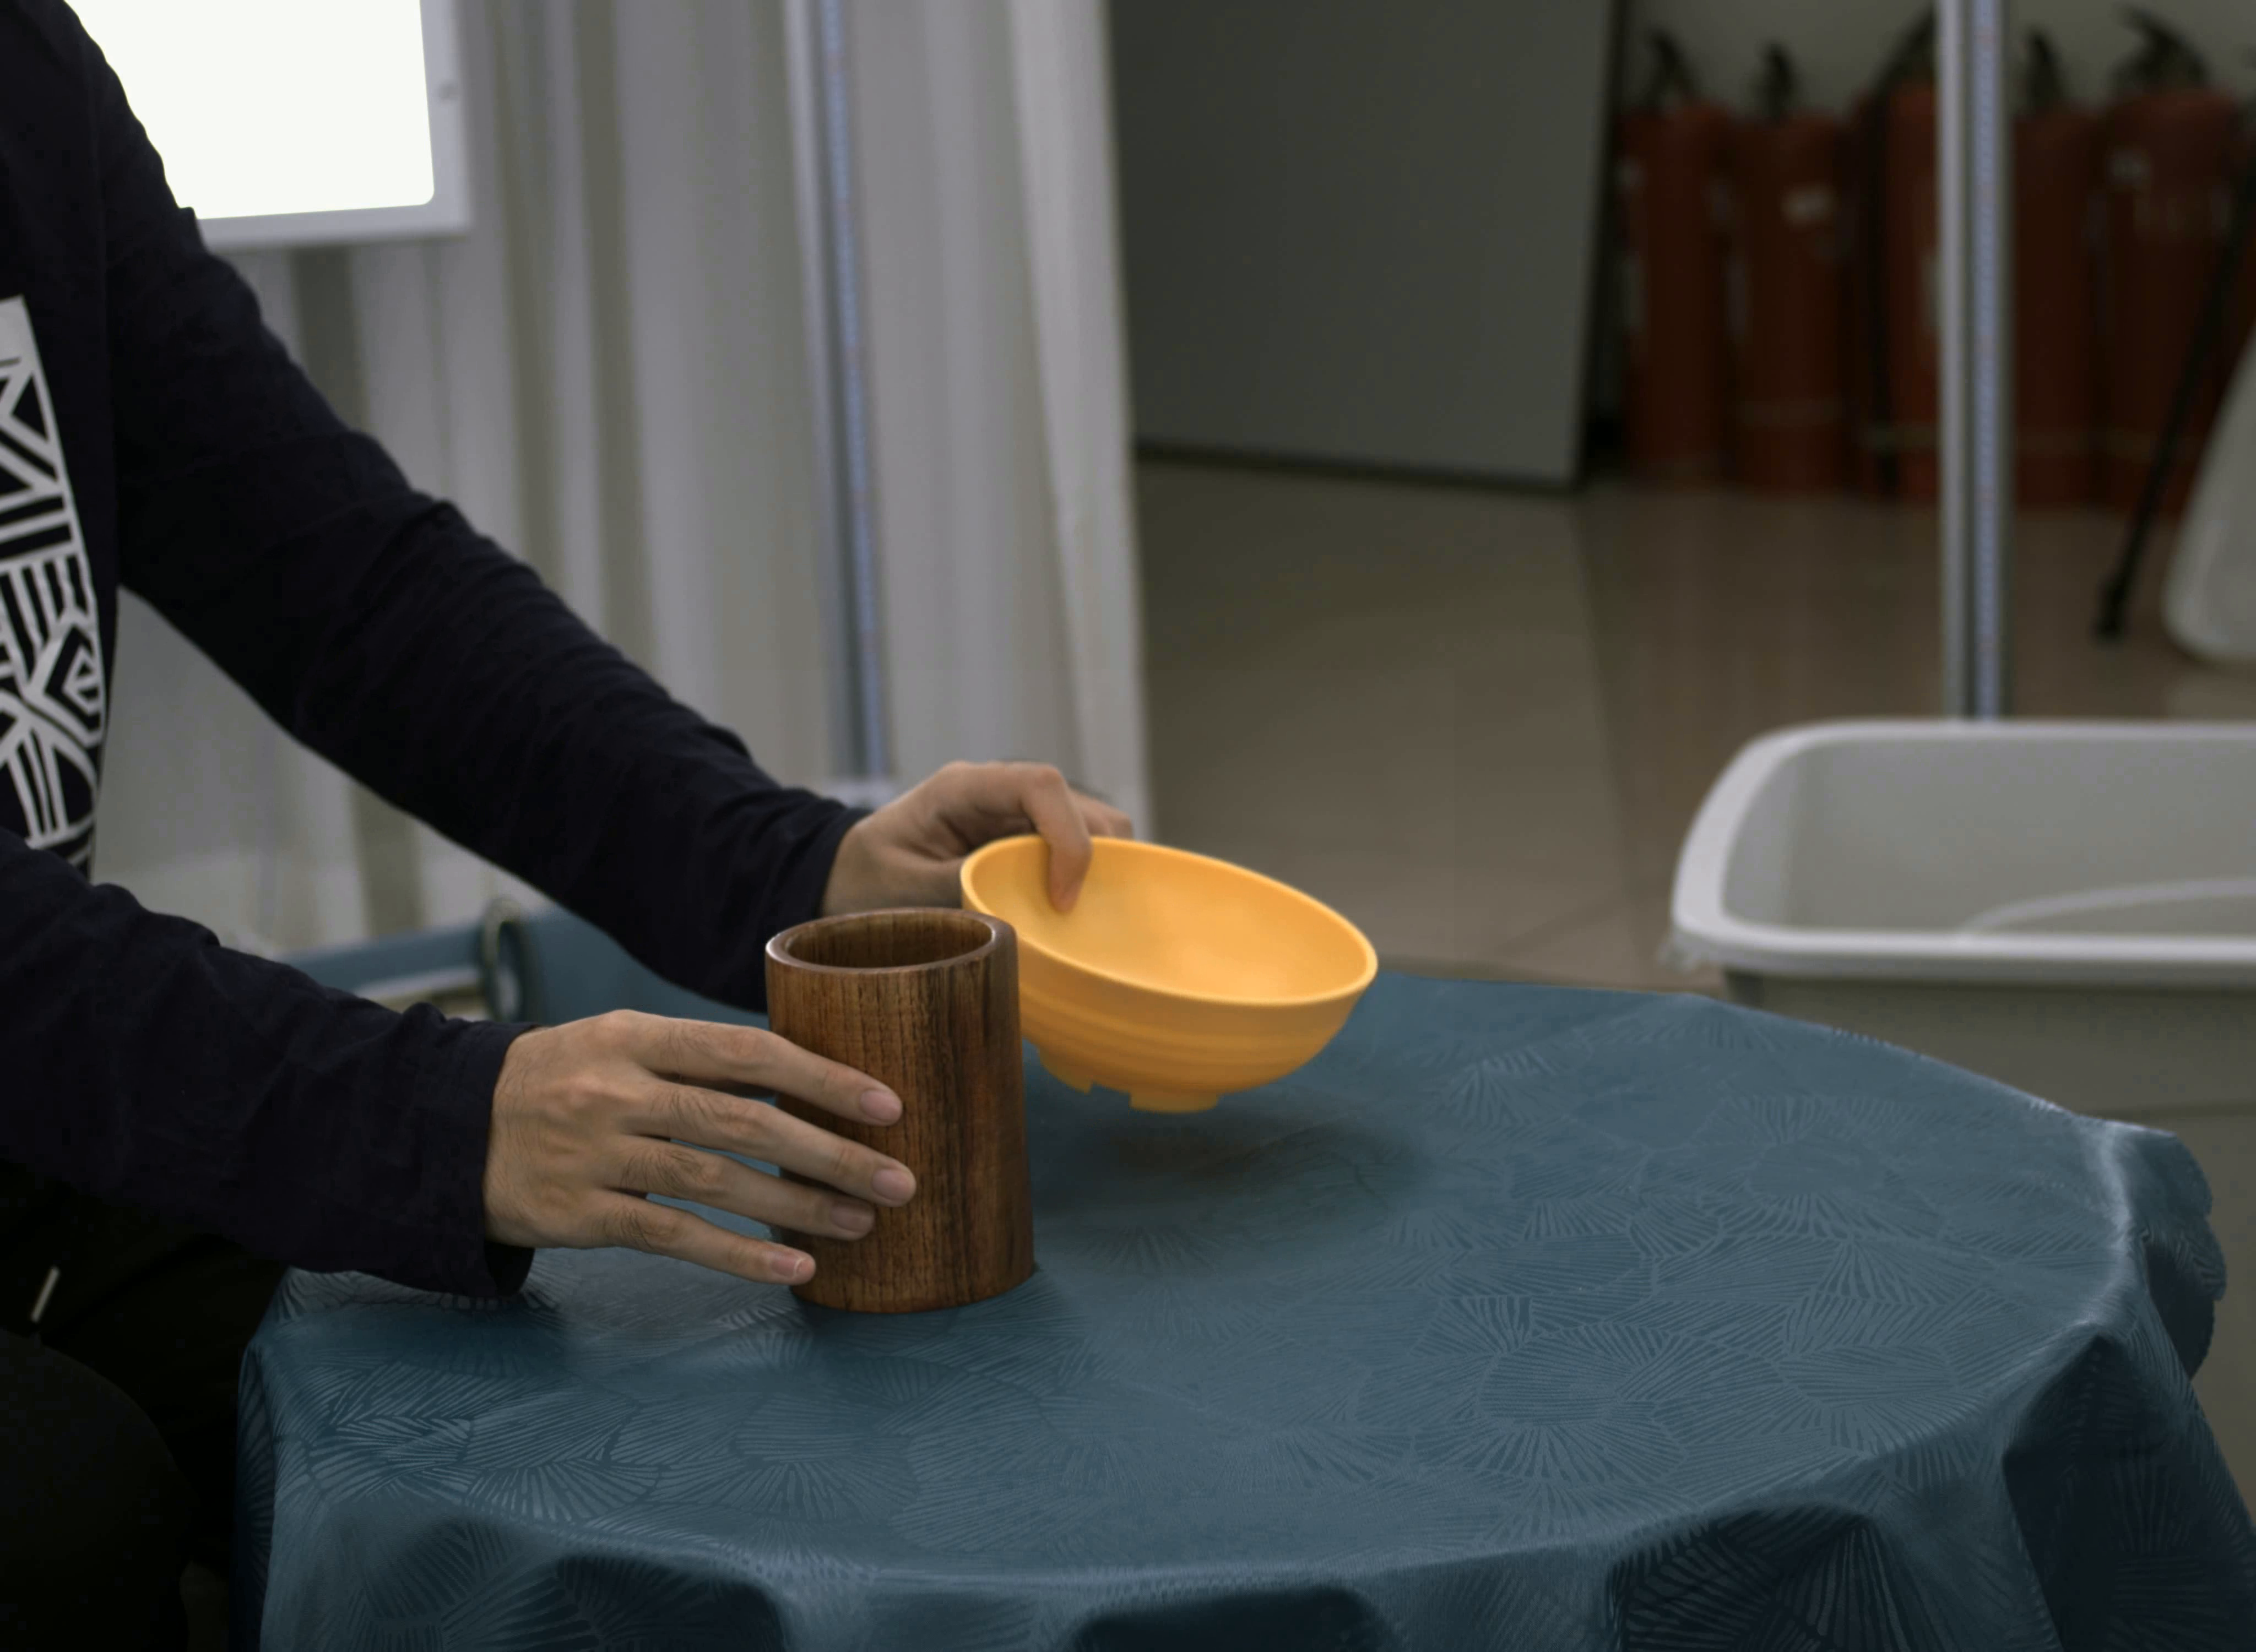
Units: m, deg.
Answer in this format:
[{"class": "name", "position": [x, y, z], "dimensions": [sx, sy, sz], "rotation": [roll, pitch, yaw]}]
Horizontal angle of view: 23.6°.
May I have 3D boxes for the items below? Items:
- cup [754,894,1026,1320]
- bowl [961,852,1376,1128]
[{"class": "cup", "position": [-0.074, 0.087, 1.690], "dimensions": [0.086, 0.120, 0.088], "rotation": [-2, 10, -1]}, {"class": "bowl", "position": [0.008, 0.061, 1.815], "dimensions": [0.143, 0.061, 0.145], "rotation": [11, 17, -4]}]
